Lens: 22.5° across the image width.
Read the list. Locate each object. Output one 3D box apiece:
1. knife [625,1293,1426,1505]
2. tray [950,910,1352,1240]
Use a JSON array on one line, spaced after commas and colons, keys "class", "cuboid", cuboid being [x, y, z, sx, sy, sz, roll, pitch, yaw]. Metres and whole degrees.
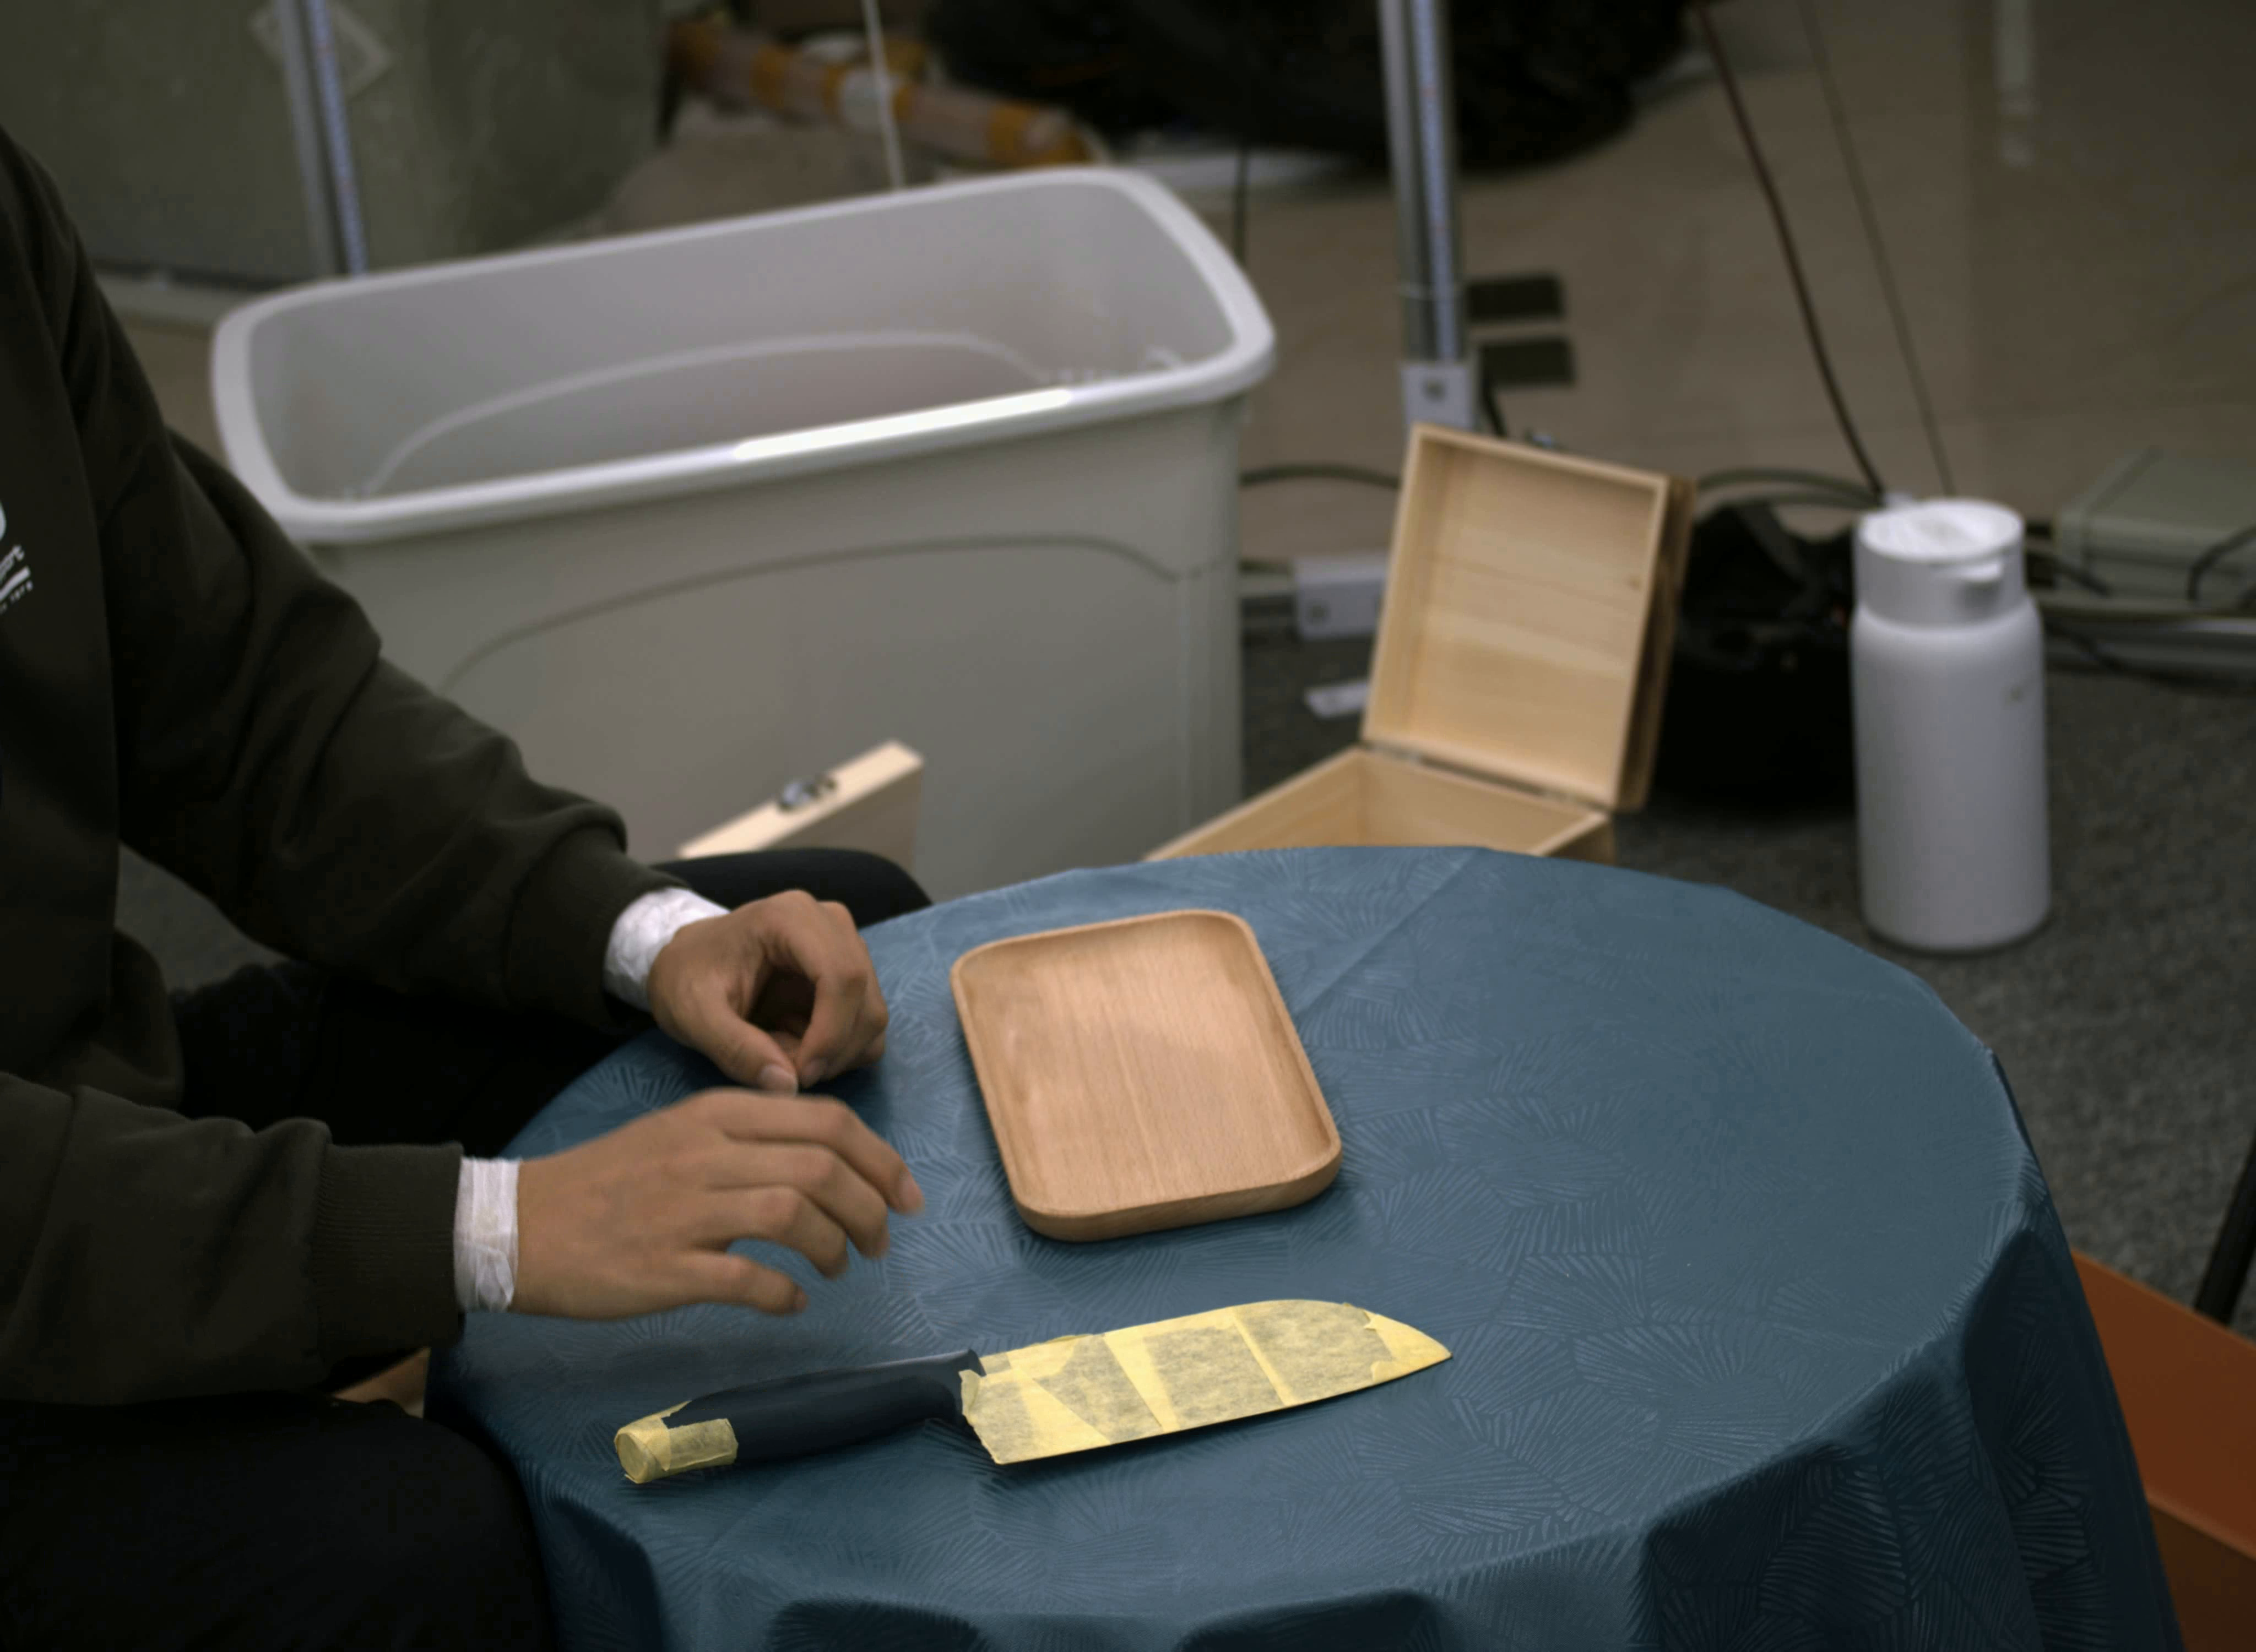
[{"class": "knife", "cuboid": [-0.033, 0.204, 2.003, 0.289, 0.027, 0.080, -11, 25, -10]}, {"class": "tray", "cuboid": [0.007, 0.096, 2.224, 0.130, 0.023, 0.247, -12, 25, -4]}]
